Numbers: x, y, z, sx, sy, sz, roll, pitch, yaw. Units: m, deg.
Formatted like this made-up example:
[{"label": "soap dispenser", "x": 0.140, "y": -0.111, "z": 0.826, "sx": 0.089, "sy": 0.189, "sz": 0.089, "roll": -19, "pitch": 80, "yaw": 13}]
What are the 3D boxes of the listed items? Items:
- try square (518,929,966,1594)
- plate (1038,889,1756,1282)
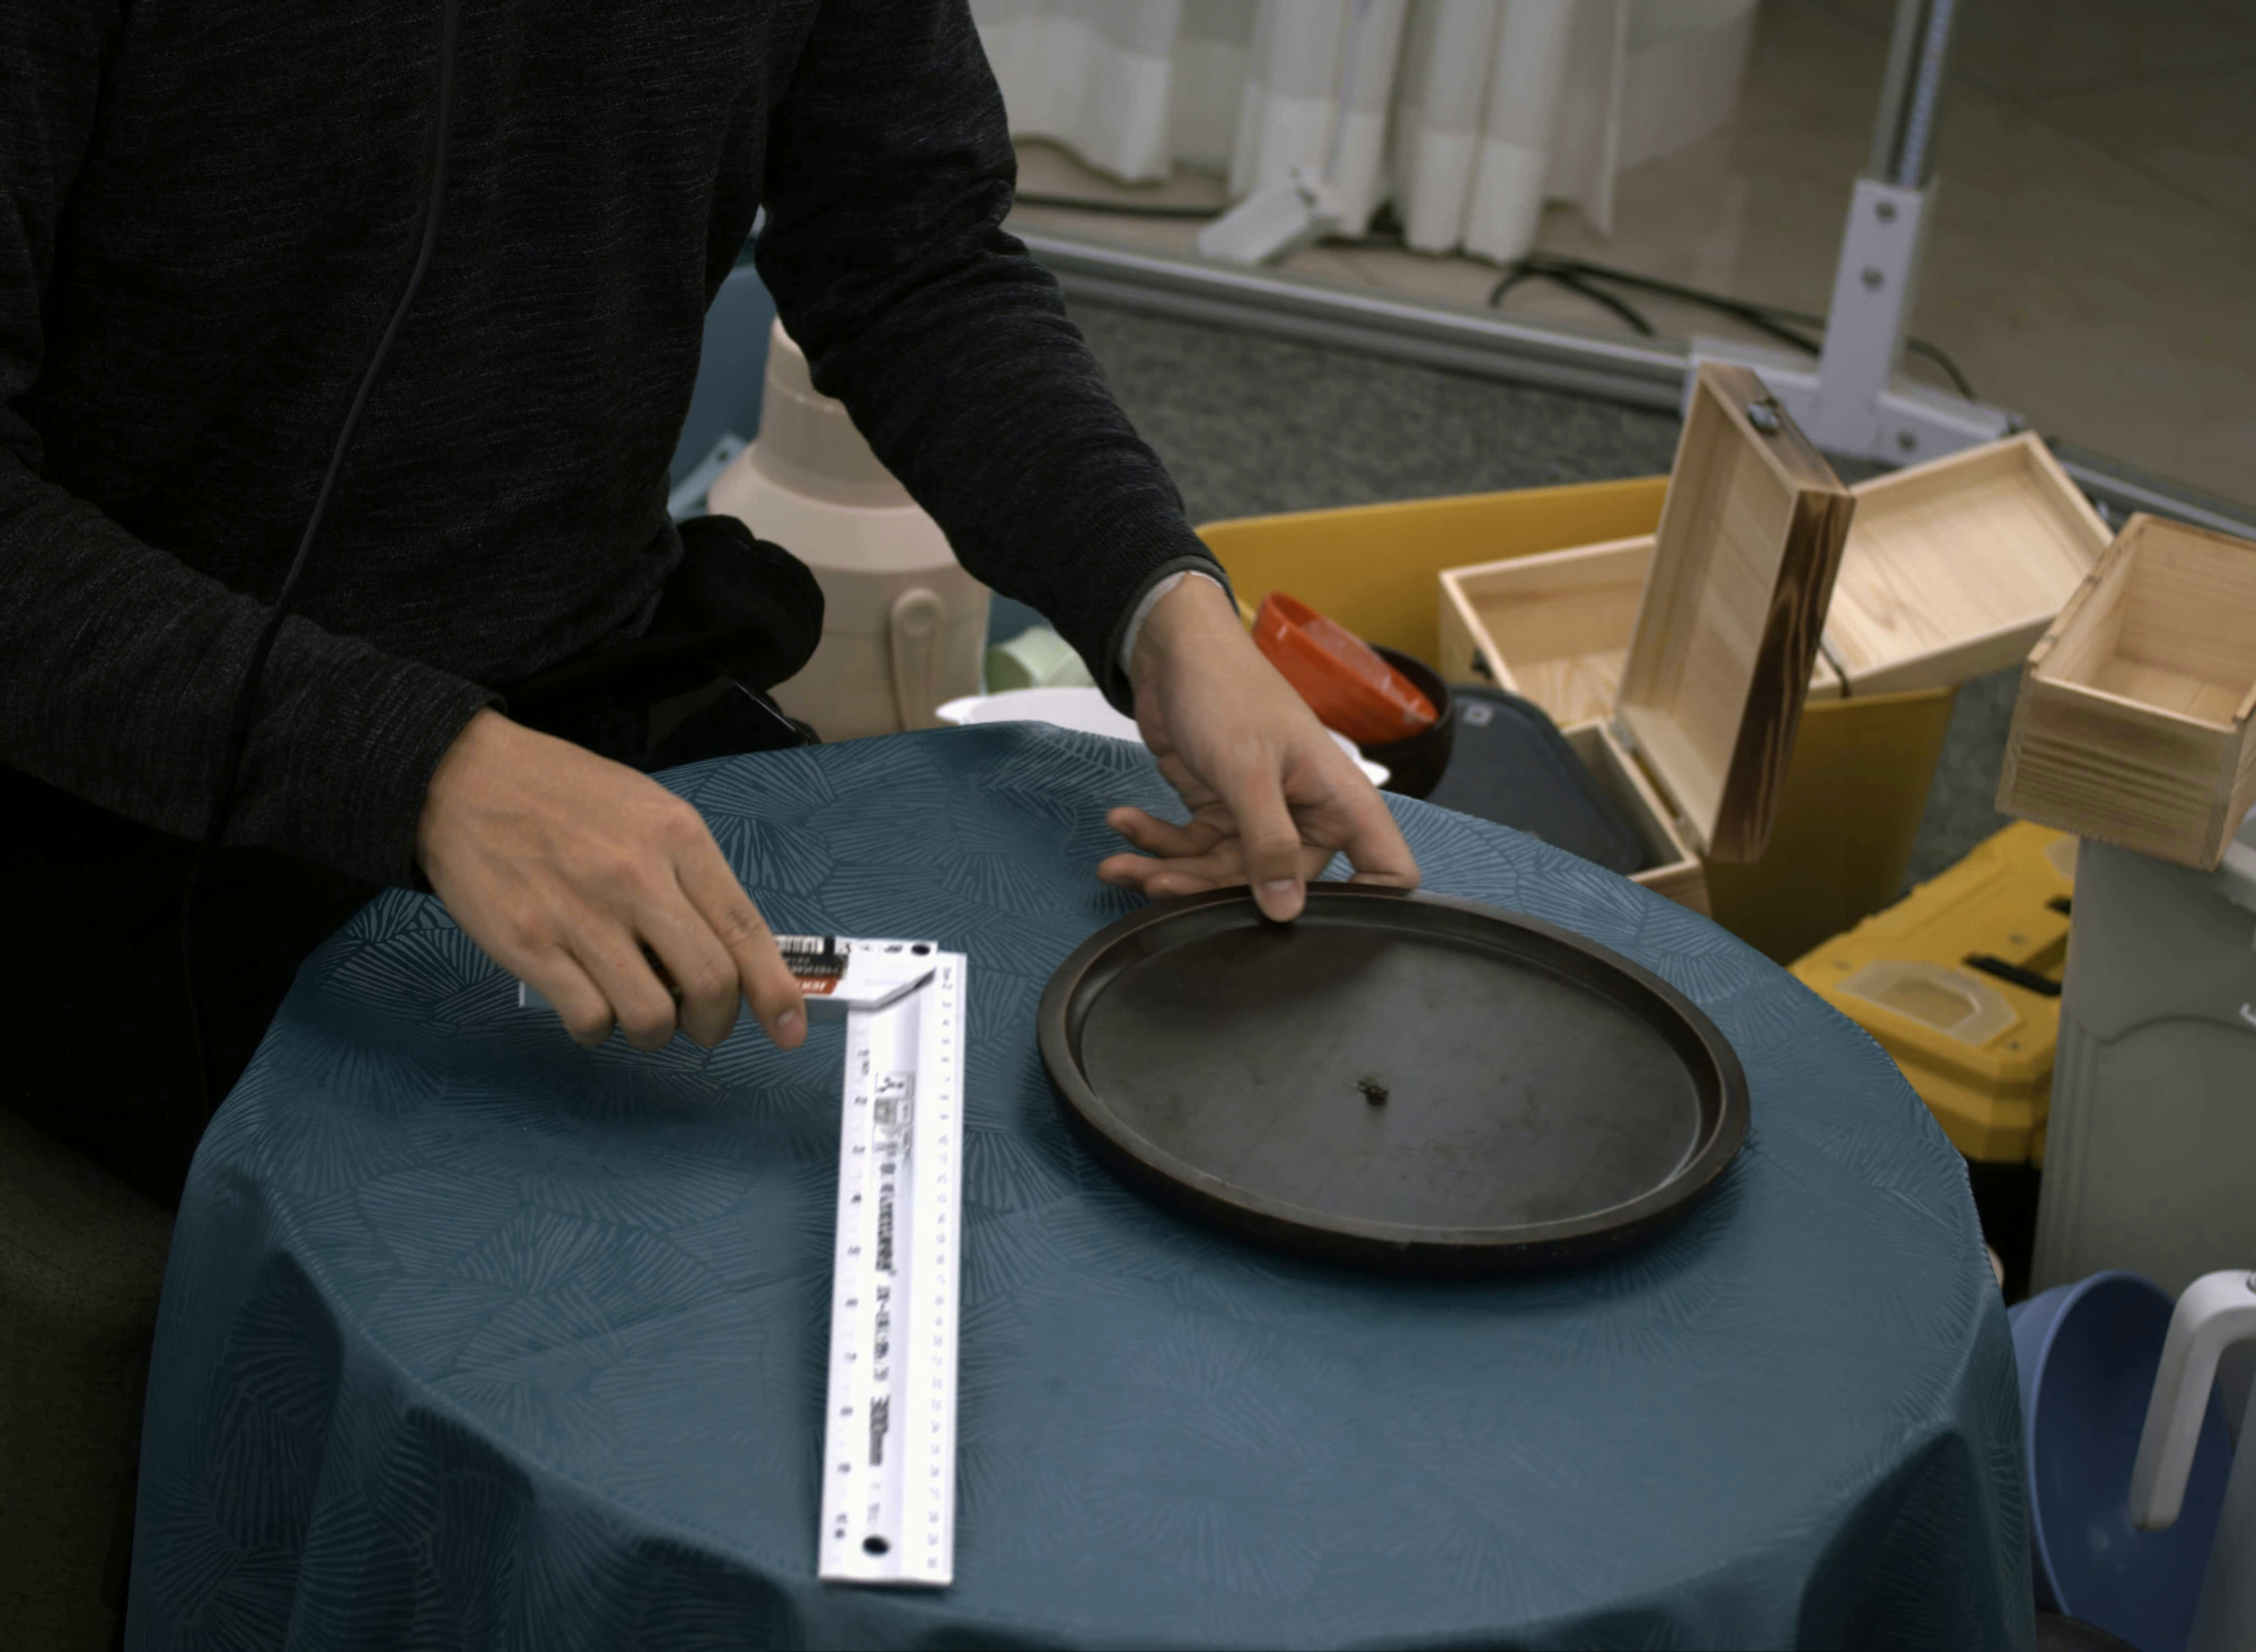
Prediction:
[{"label": "try square", "x": -0.130, "y": 0.133, "z": 1.702, "sx": 0.152, "sy": 0.016, "sz": 0.315, "roll": 2, "pitch": 36, "yaw": -2}, {"label": "plate", "x": 0.093, "y": 0.088, "z": 1.866, "sx": 0.254, "sy": 0.029, "sz": 0.256, "roll": 5, "pitch": 28, "yaw": -3}]
